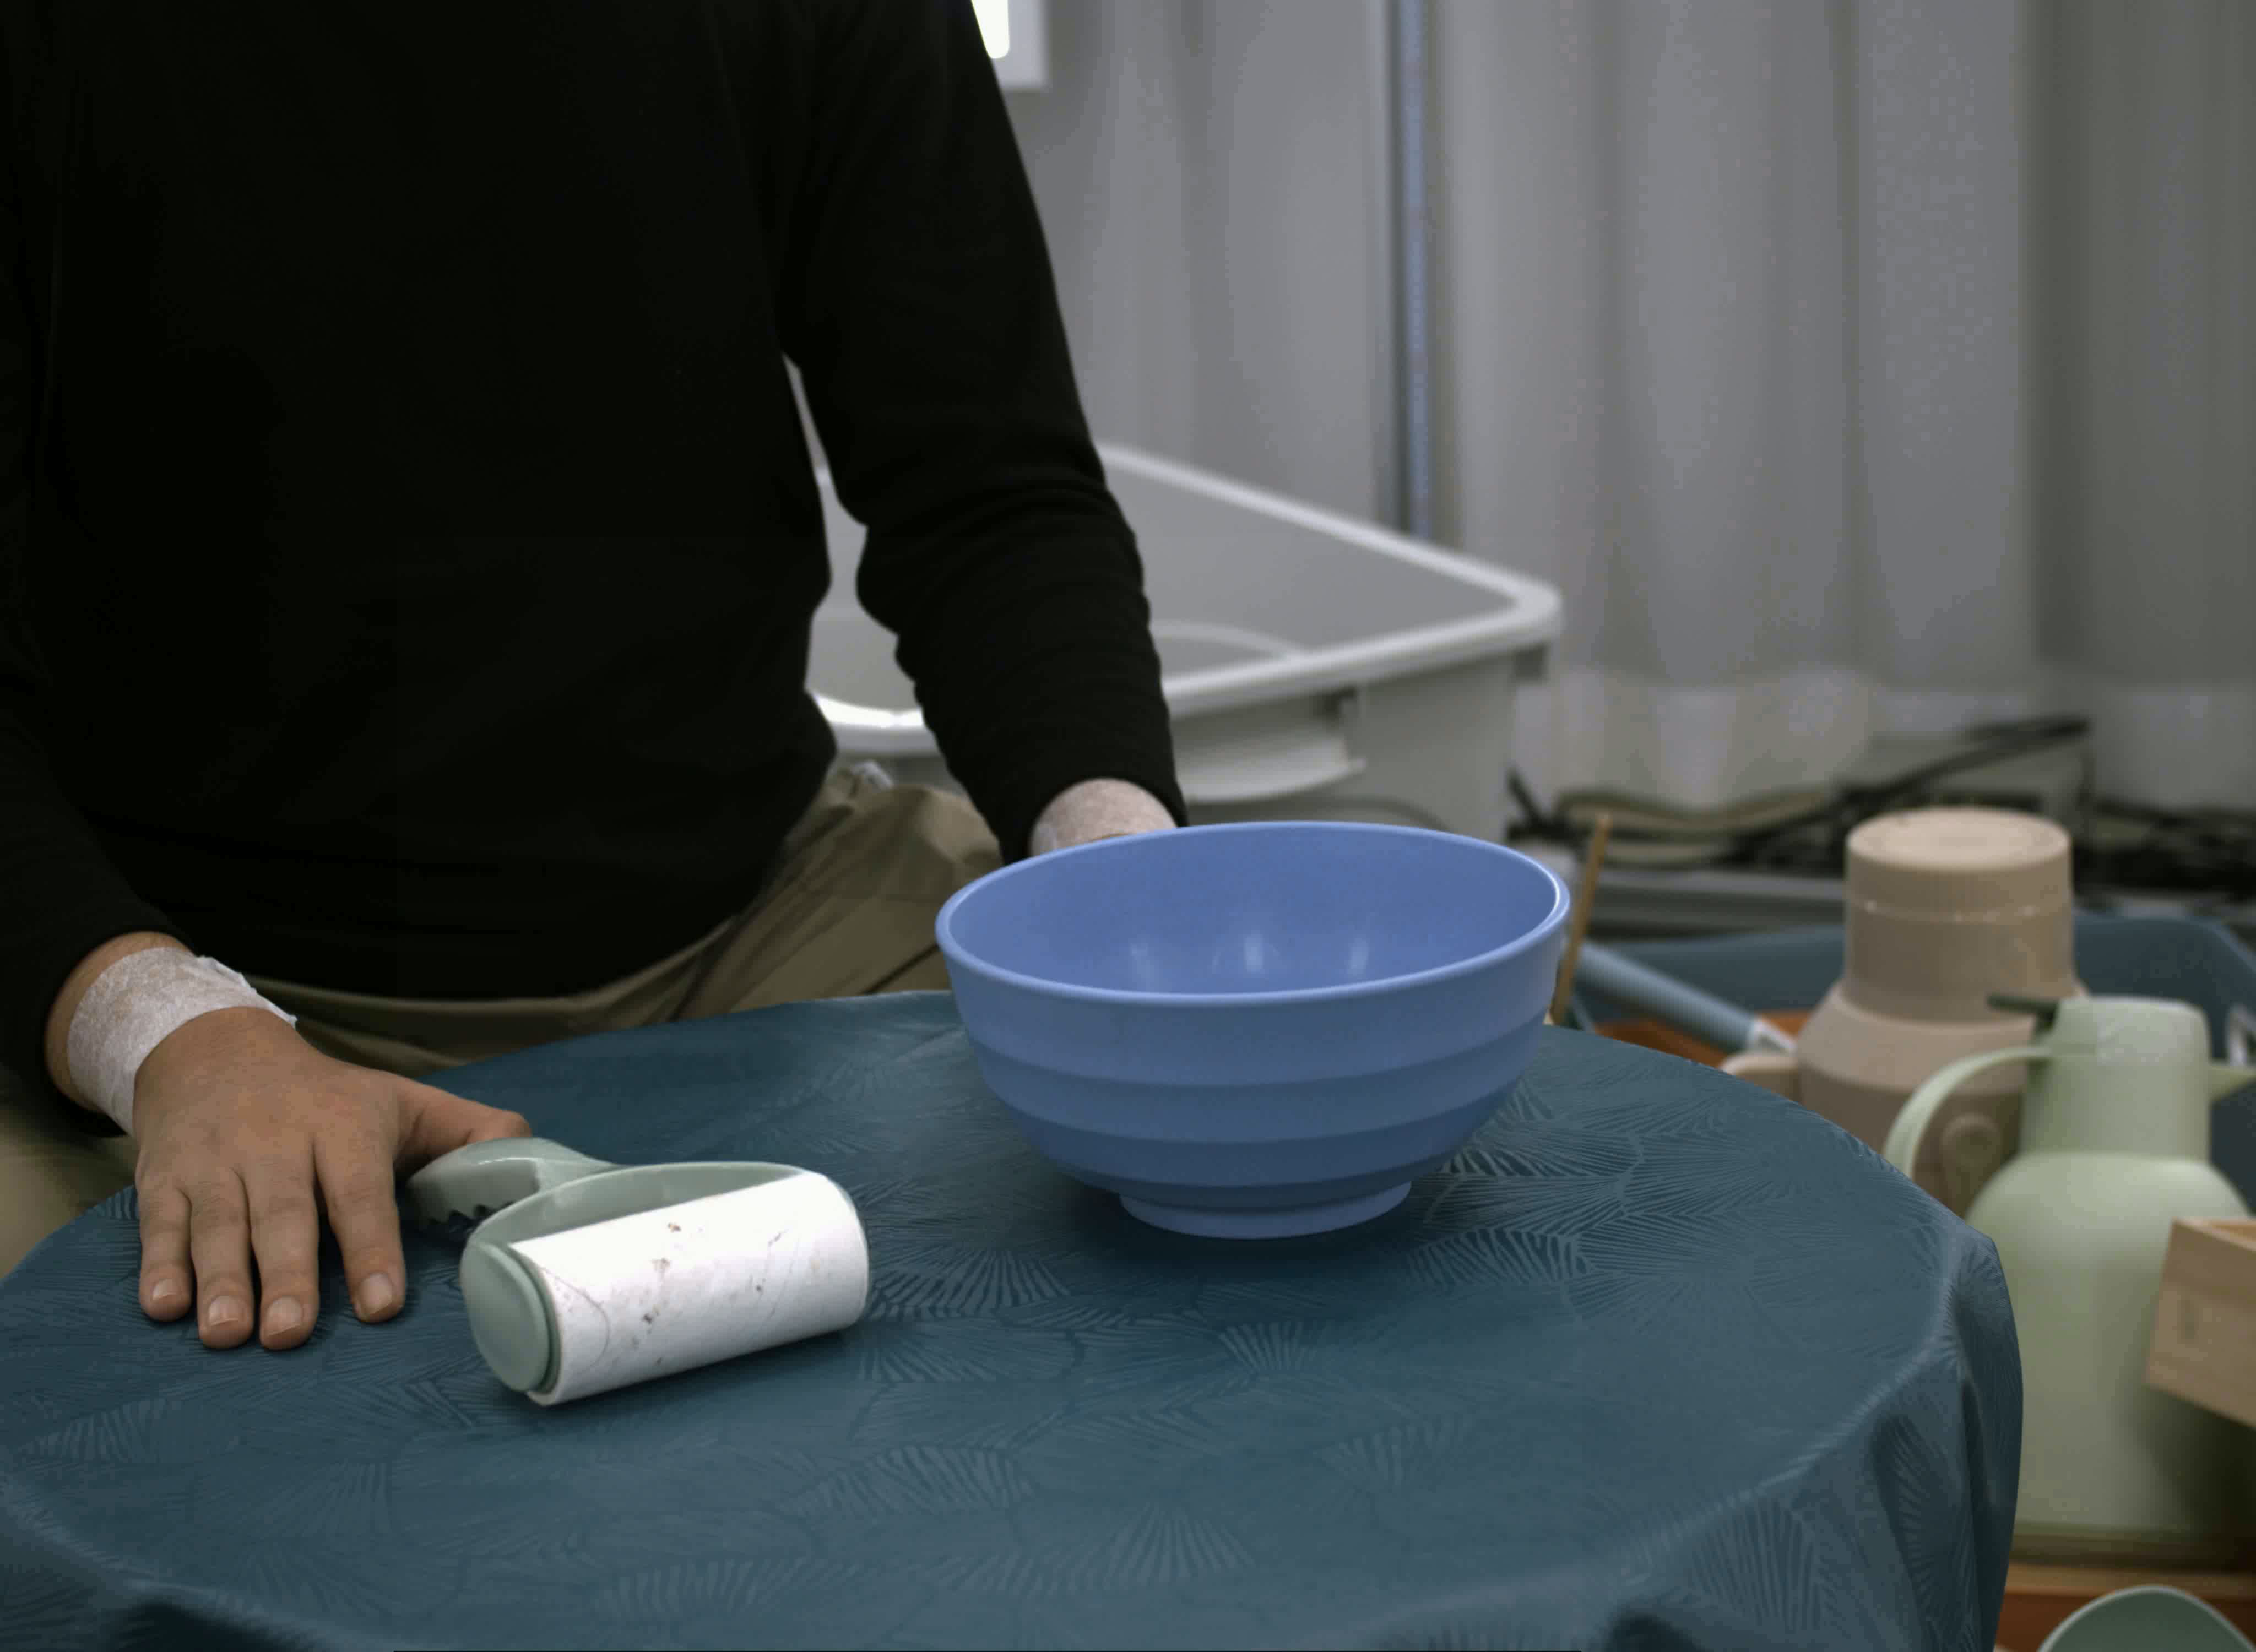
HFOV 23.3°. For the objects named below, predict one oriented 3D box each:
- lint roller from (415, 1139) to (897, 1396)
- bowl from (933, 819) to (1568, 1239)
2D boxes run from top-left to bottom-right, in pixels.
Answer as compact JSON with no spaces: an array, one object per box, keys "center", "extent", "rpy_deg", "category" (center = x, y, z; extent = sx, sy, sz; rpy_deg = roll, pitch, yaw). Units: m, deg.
[{"center":[-0.162,0.119,1.644],"extent":[0.116,0.048,0.199],"rpy_deg":[-13,16,-30],"category":"lint roller"},{"center":[0.040,0.068,1.695],"extent":[0.196,0.095,0.198],"rpy_deg":[-4,15,1],"category":"bowl"}]
